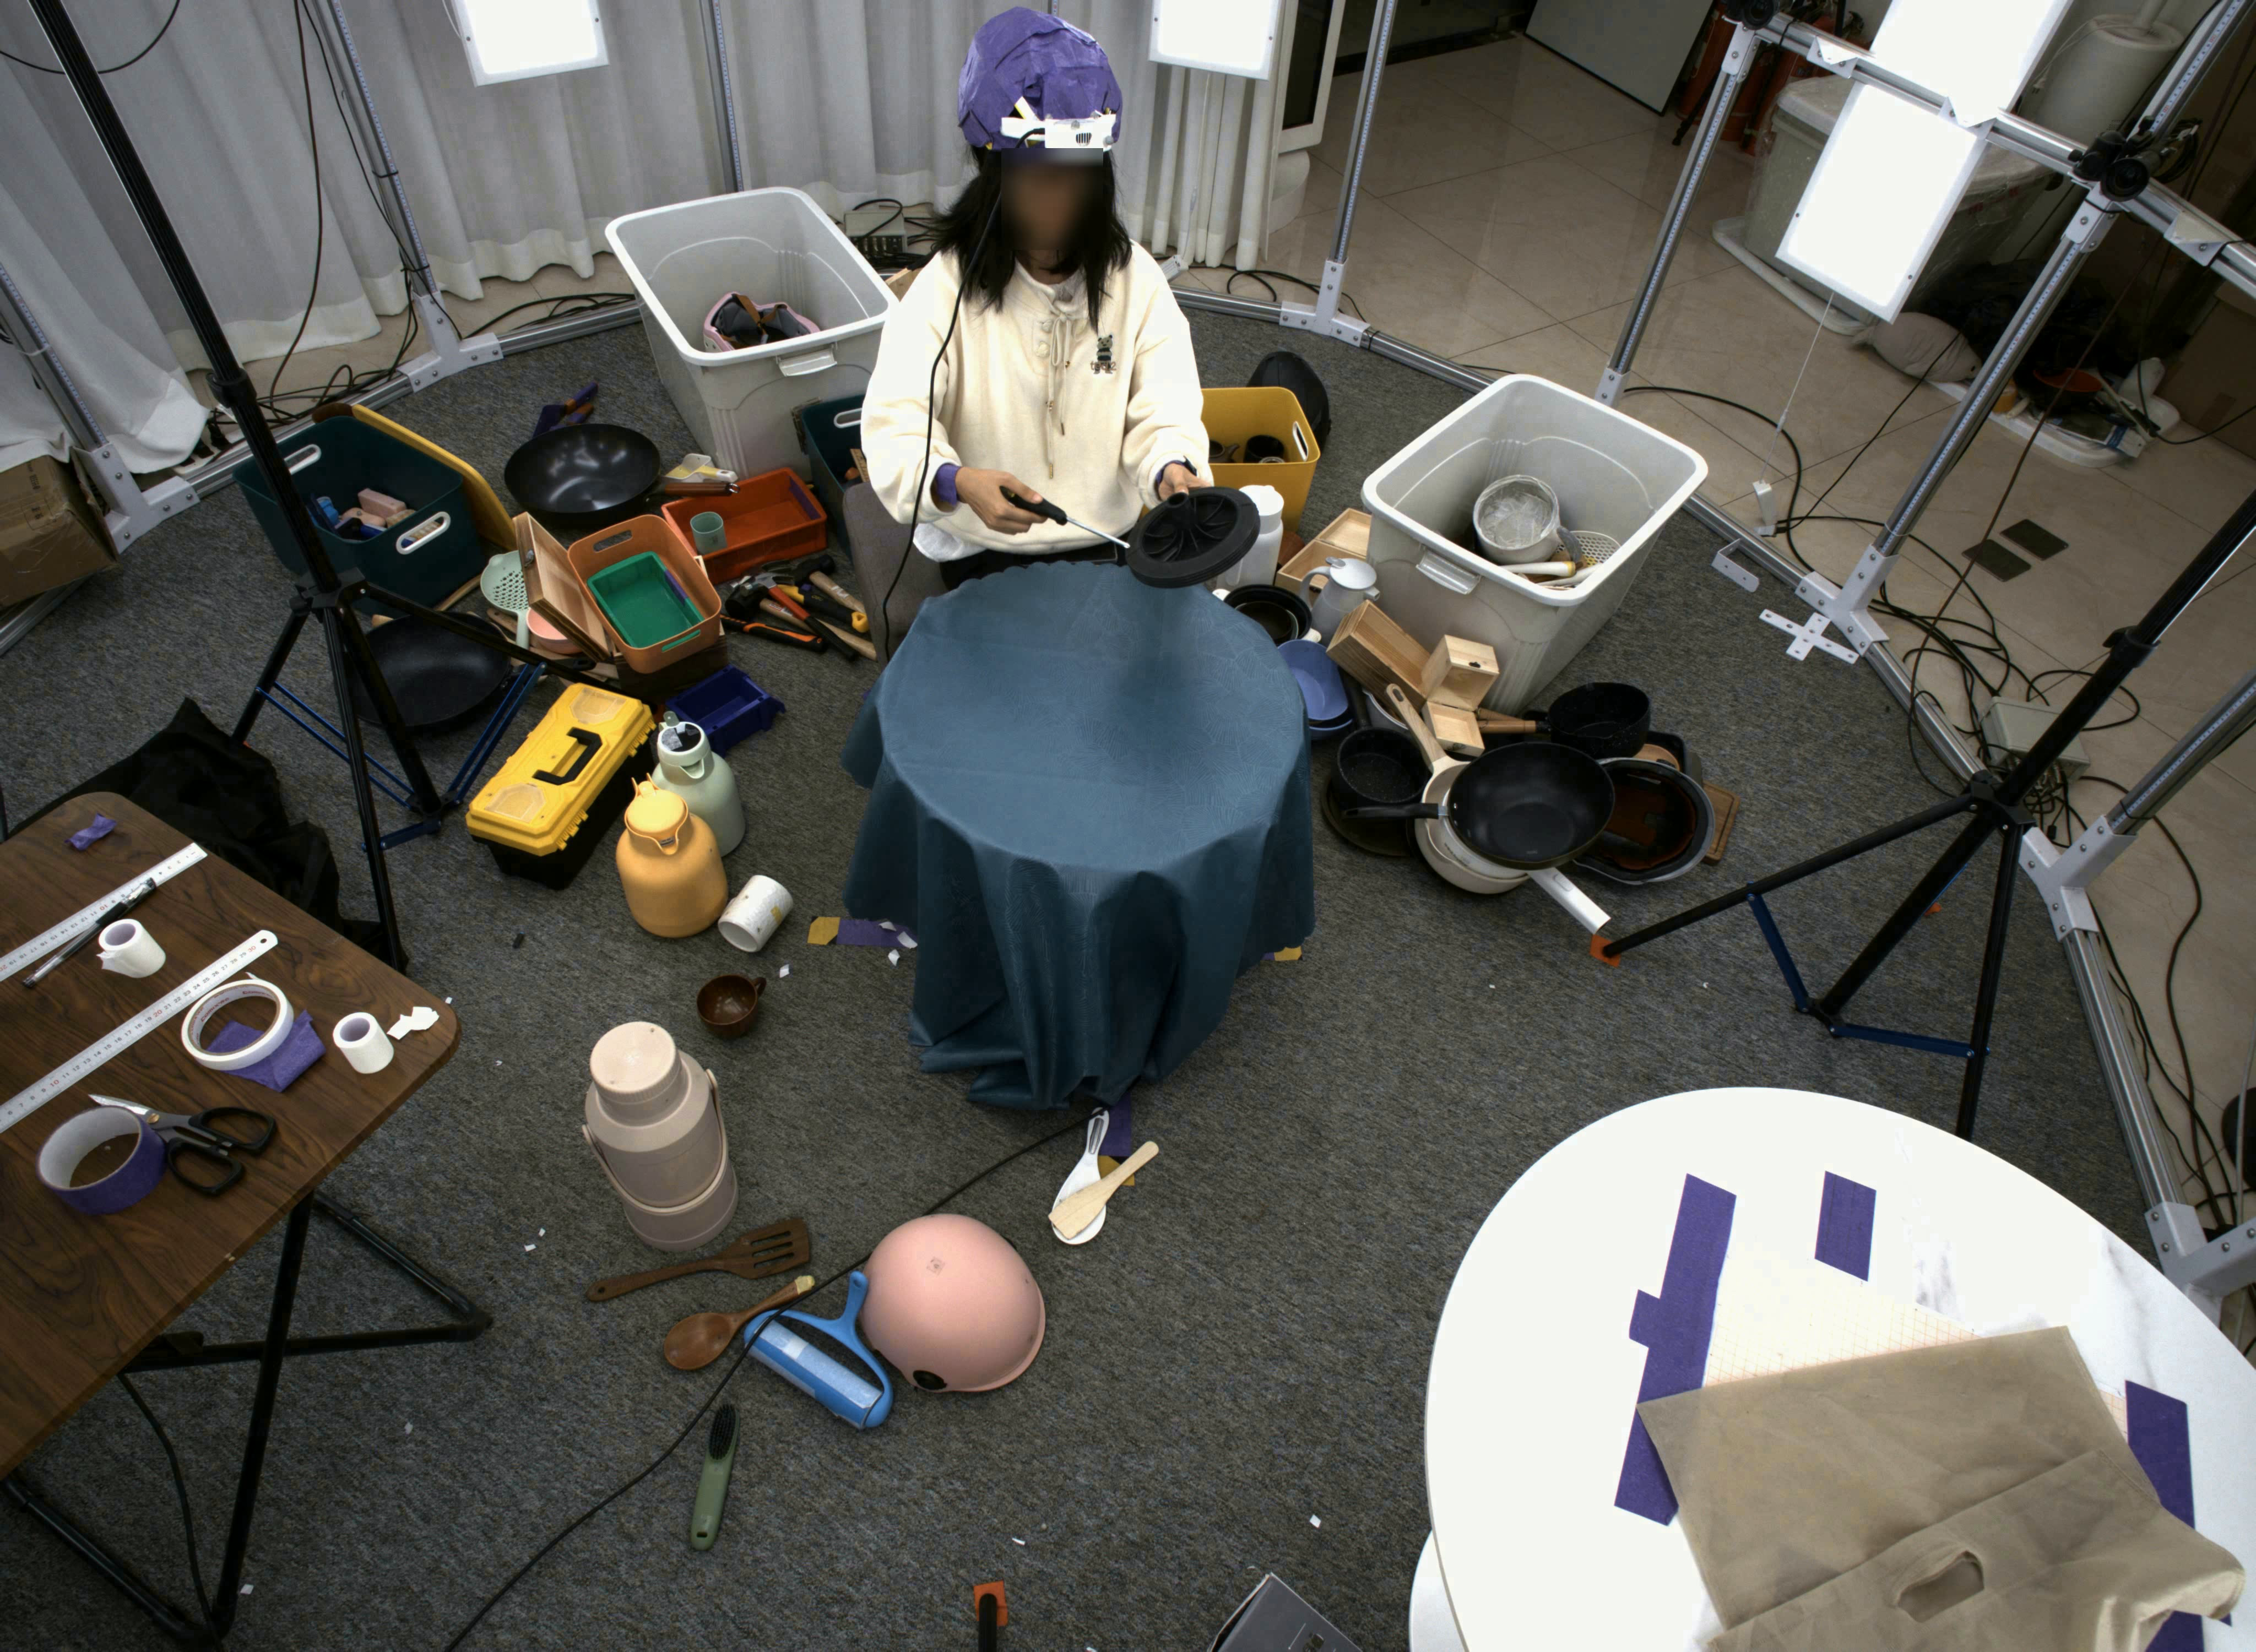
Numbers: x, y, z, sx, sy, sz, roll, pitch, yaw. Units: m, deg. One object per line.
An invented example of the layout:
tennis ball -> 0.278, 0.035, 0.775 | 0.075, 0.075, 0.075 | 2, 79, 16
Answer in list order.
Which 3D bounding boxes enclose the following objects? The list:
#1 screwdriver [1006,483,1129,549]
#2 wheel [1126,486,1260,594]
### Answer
screwdriver -> -0.083, -0.422, 1.767 | 0.198, 0.031, 0.032 | 29, 53, 18
wheel -> 0.078, -0.399, 1.718 | 0.188, 0.077, 0.193 | 6, 56, 32
